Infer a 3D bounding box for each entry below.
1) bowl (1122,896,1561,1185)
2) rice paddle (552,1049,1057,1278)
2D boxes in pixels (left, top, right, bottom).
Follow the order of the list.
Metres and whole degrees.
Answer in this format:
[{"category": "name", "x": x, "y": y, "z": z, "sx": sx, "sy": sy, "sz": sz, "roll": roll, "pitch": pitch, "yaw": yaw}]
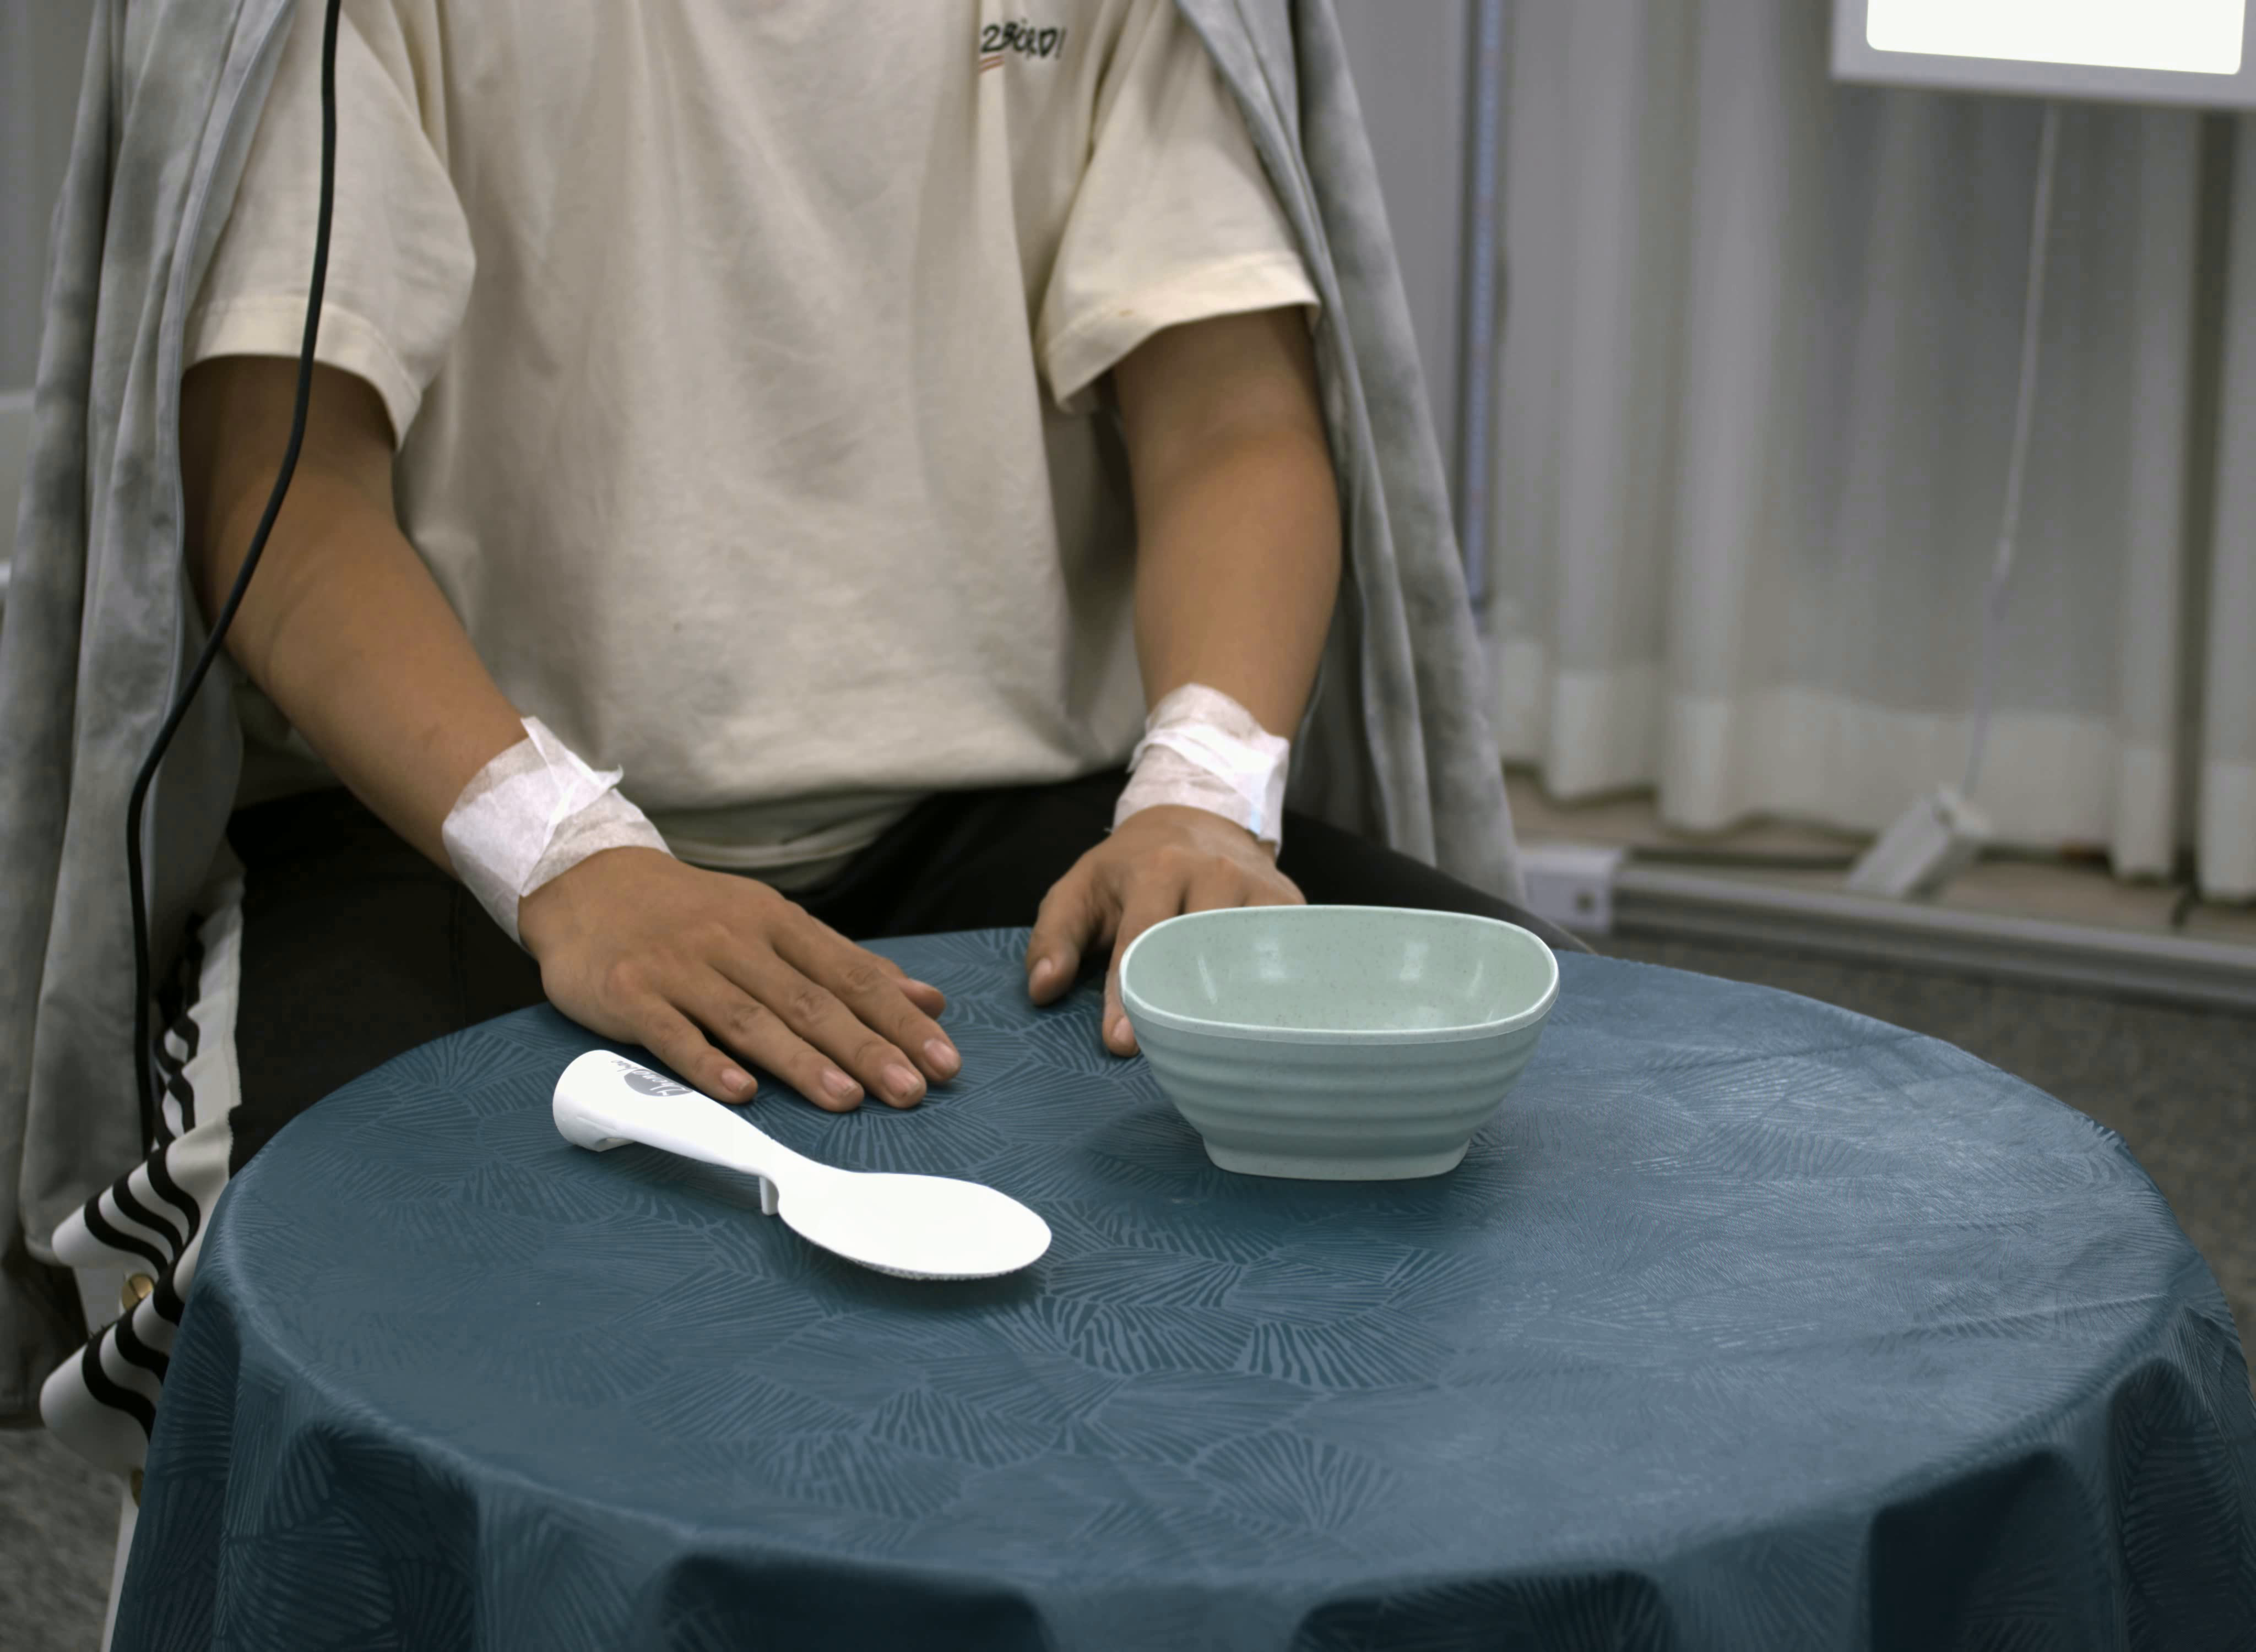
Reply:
[{"category": "bowl", "x": 0.067, "y": 0.071, "z": 1.670, "sx": 0.151, "sy": 0.059, "sz": 0.150, "roll": 0, "pitch": 18, "yaw": 1}, {"category": "rice paddle", "x": -0.100, "y": 0.104, "z": 1.595, "sx": 0.069, "sy": 0.029, "sz": 0.202, "roll": -16, "pitch": 22, "yaw": -41}]
